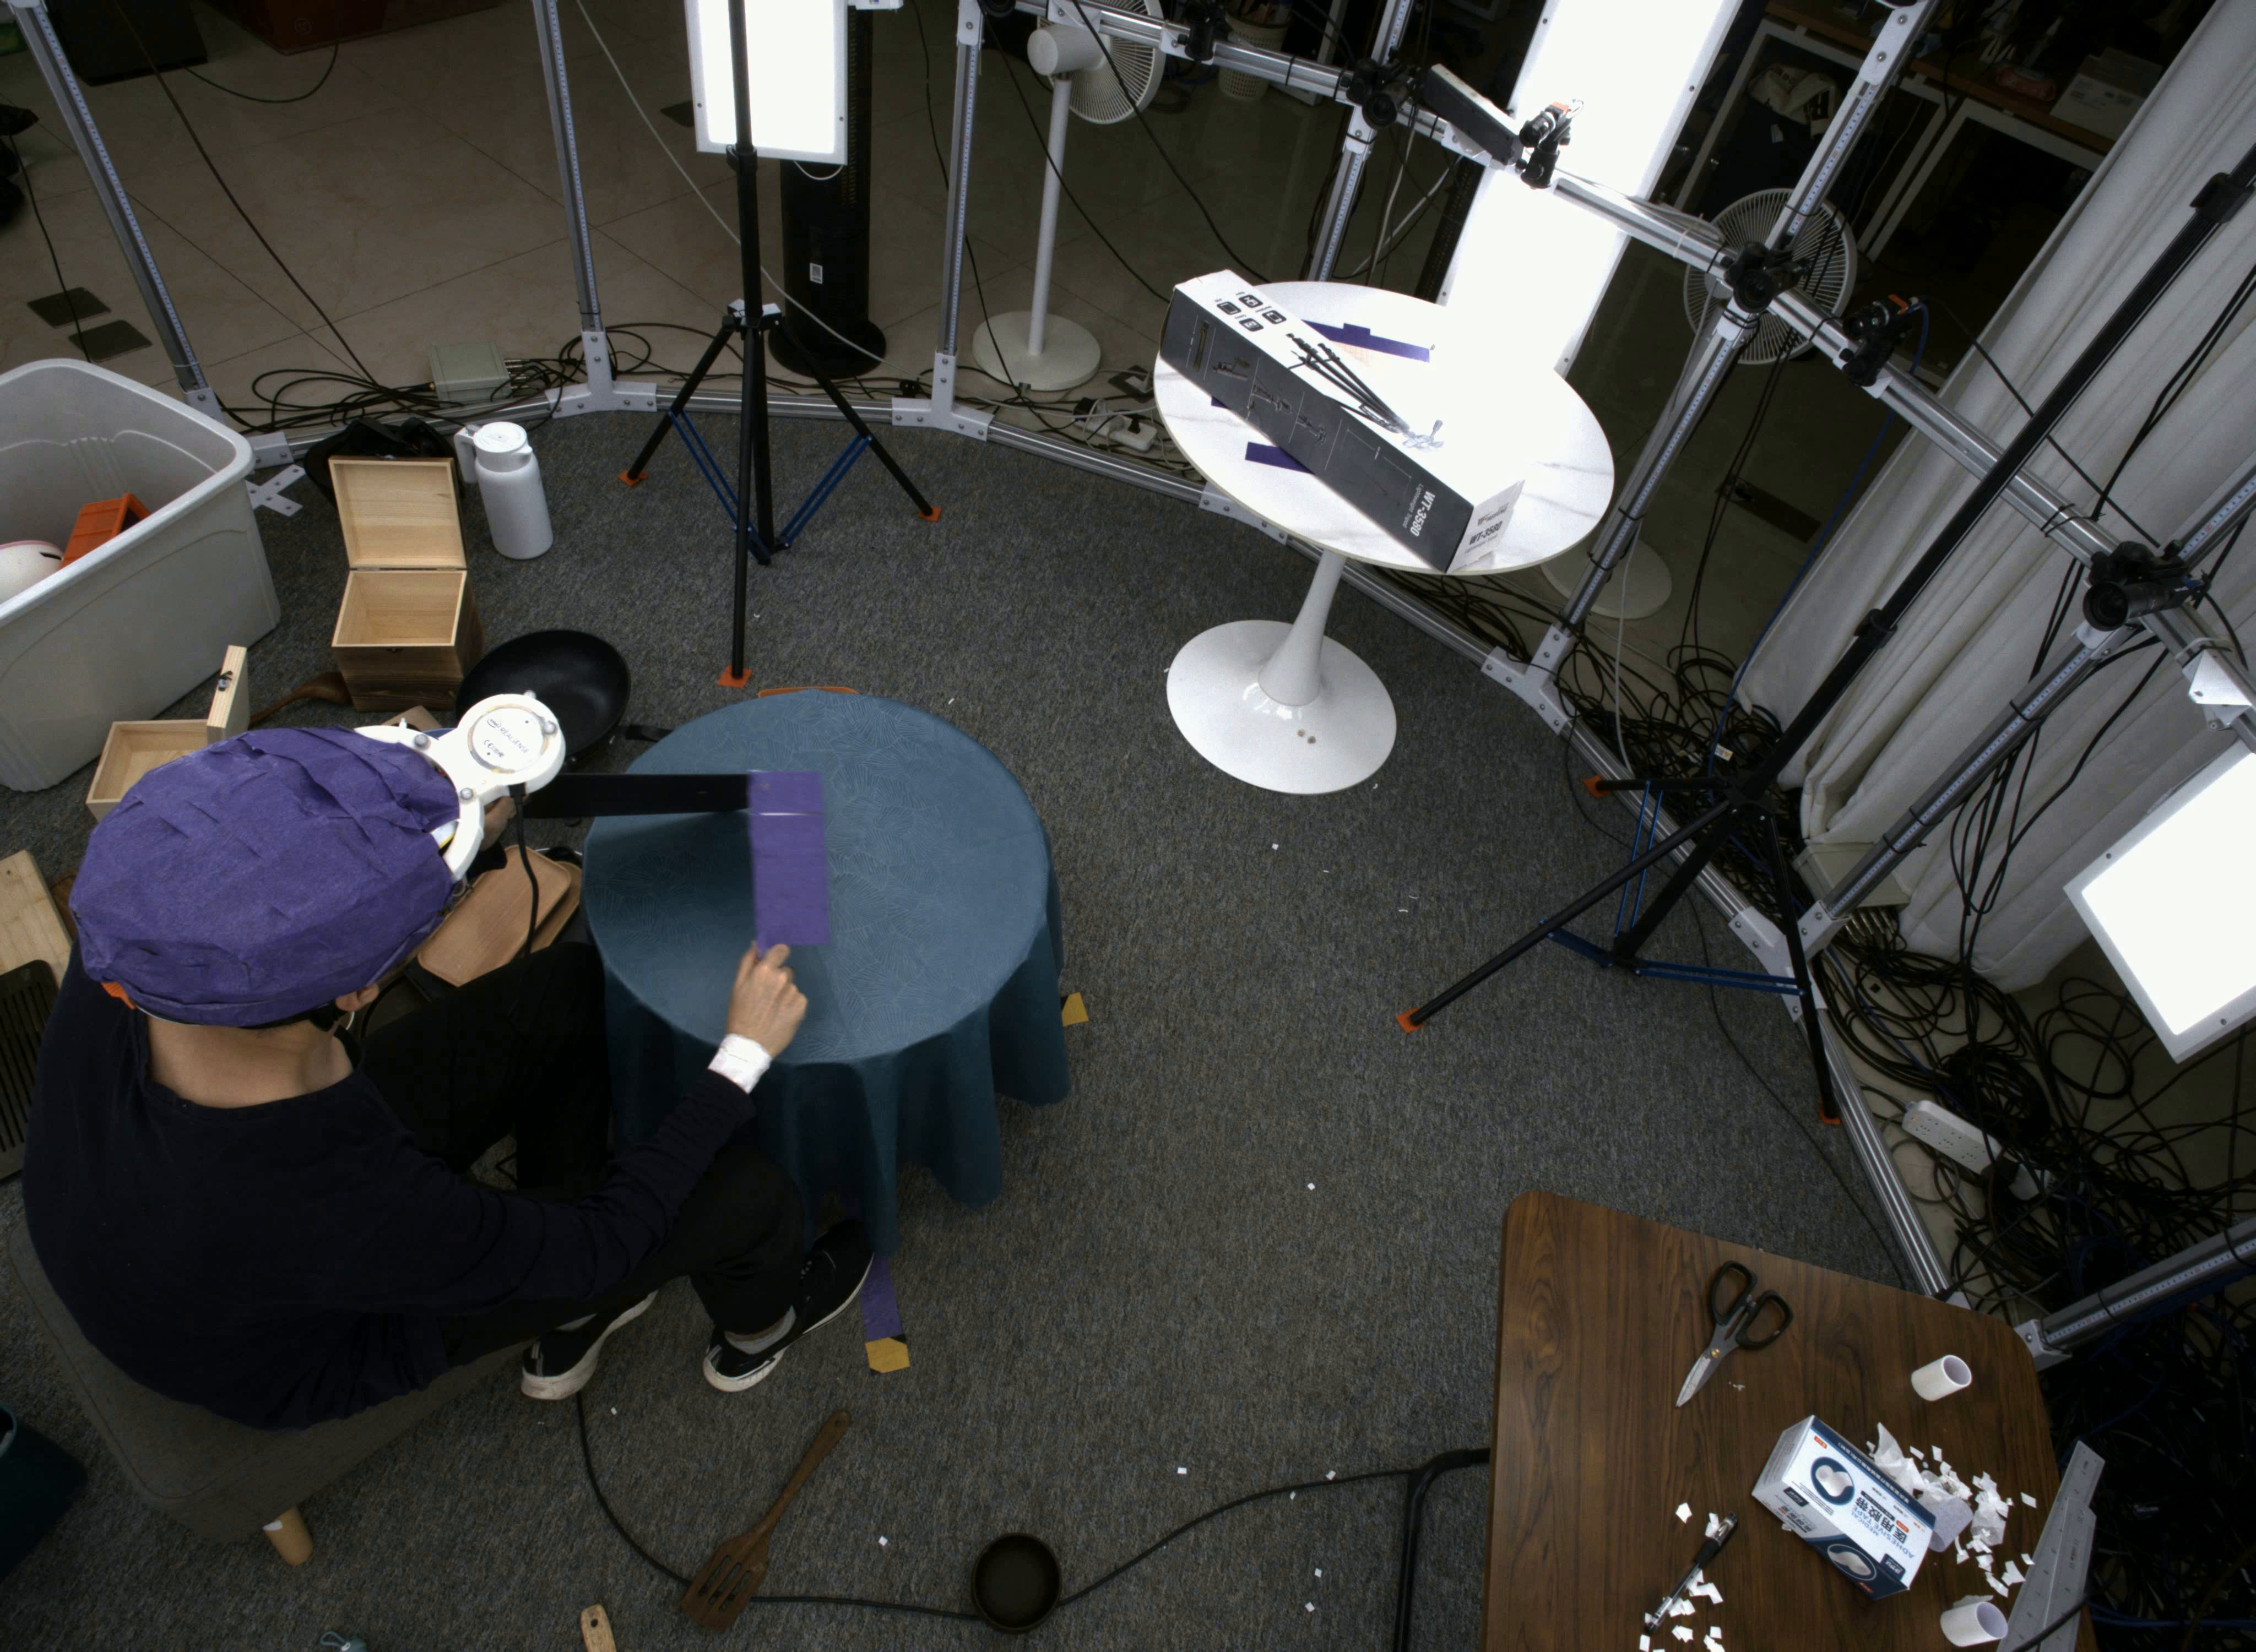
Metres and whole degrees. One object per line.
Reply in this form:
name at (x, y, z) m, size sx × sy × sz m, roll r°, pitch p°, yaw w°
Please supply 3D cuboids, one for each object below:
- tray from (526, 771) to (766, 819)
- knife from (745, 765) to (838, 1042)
tray at (-0.598, -0.041, 1.568) m, size 0.330 × 0.208 × 0.010 m, roll -2°, pitch 78°, yaw -30°
knife at (-0.384, 0.084, 1.500) m, size 0.105 × 0.031 × 0.317 m, roll -1°, pitch 84°, yaw -35°
